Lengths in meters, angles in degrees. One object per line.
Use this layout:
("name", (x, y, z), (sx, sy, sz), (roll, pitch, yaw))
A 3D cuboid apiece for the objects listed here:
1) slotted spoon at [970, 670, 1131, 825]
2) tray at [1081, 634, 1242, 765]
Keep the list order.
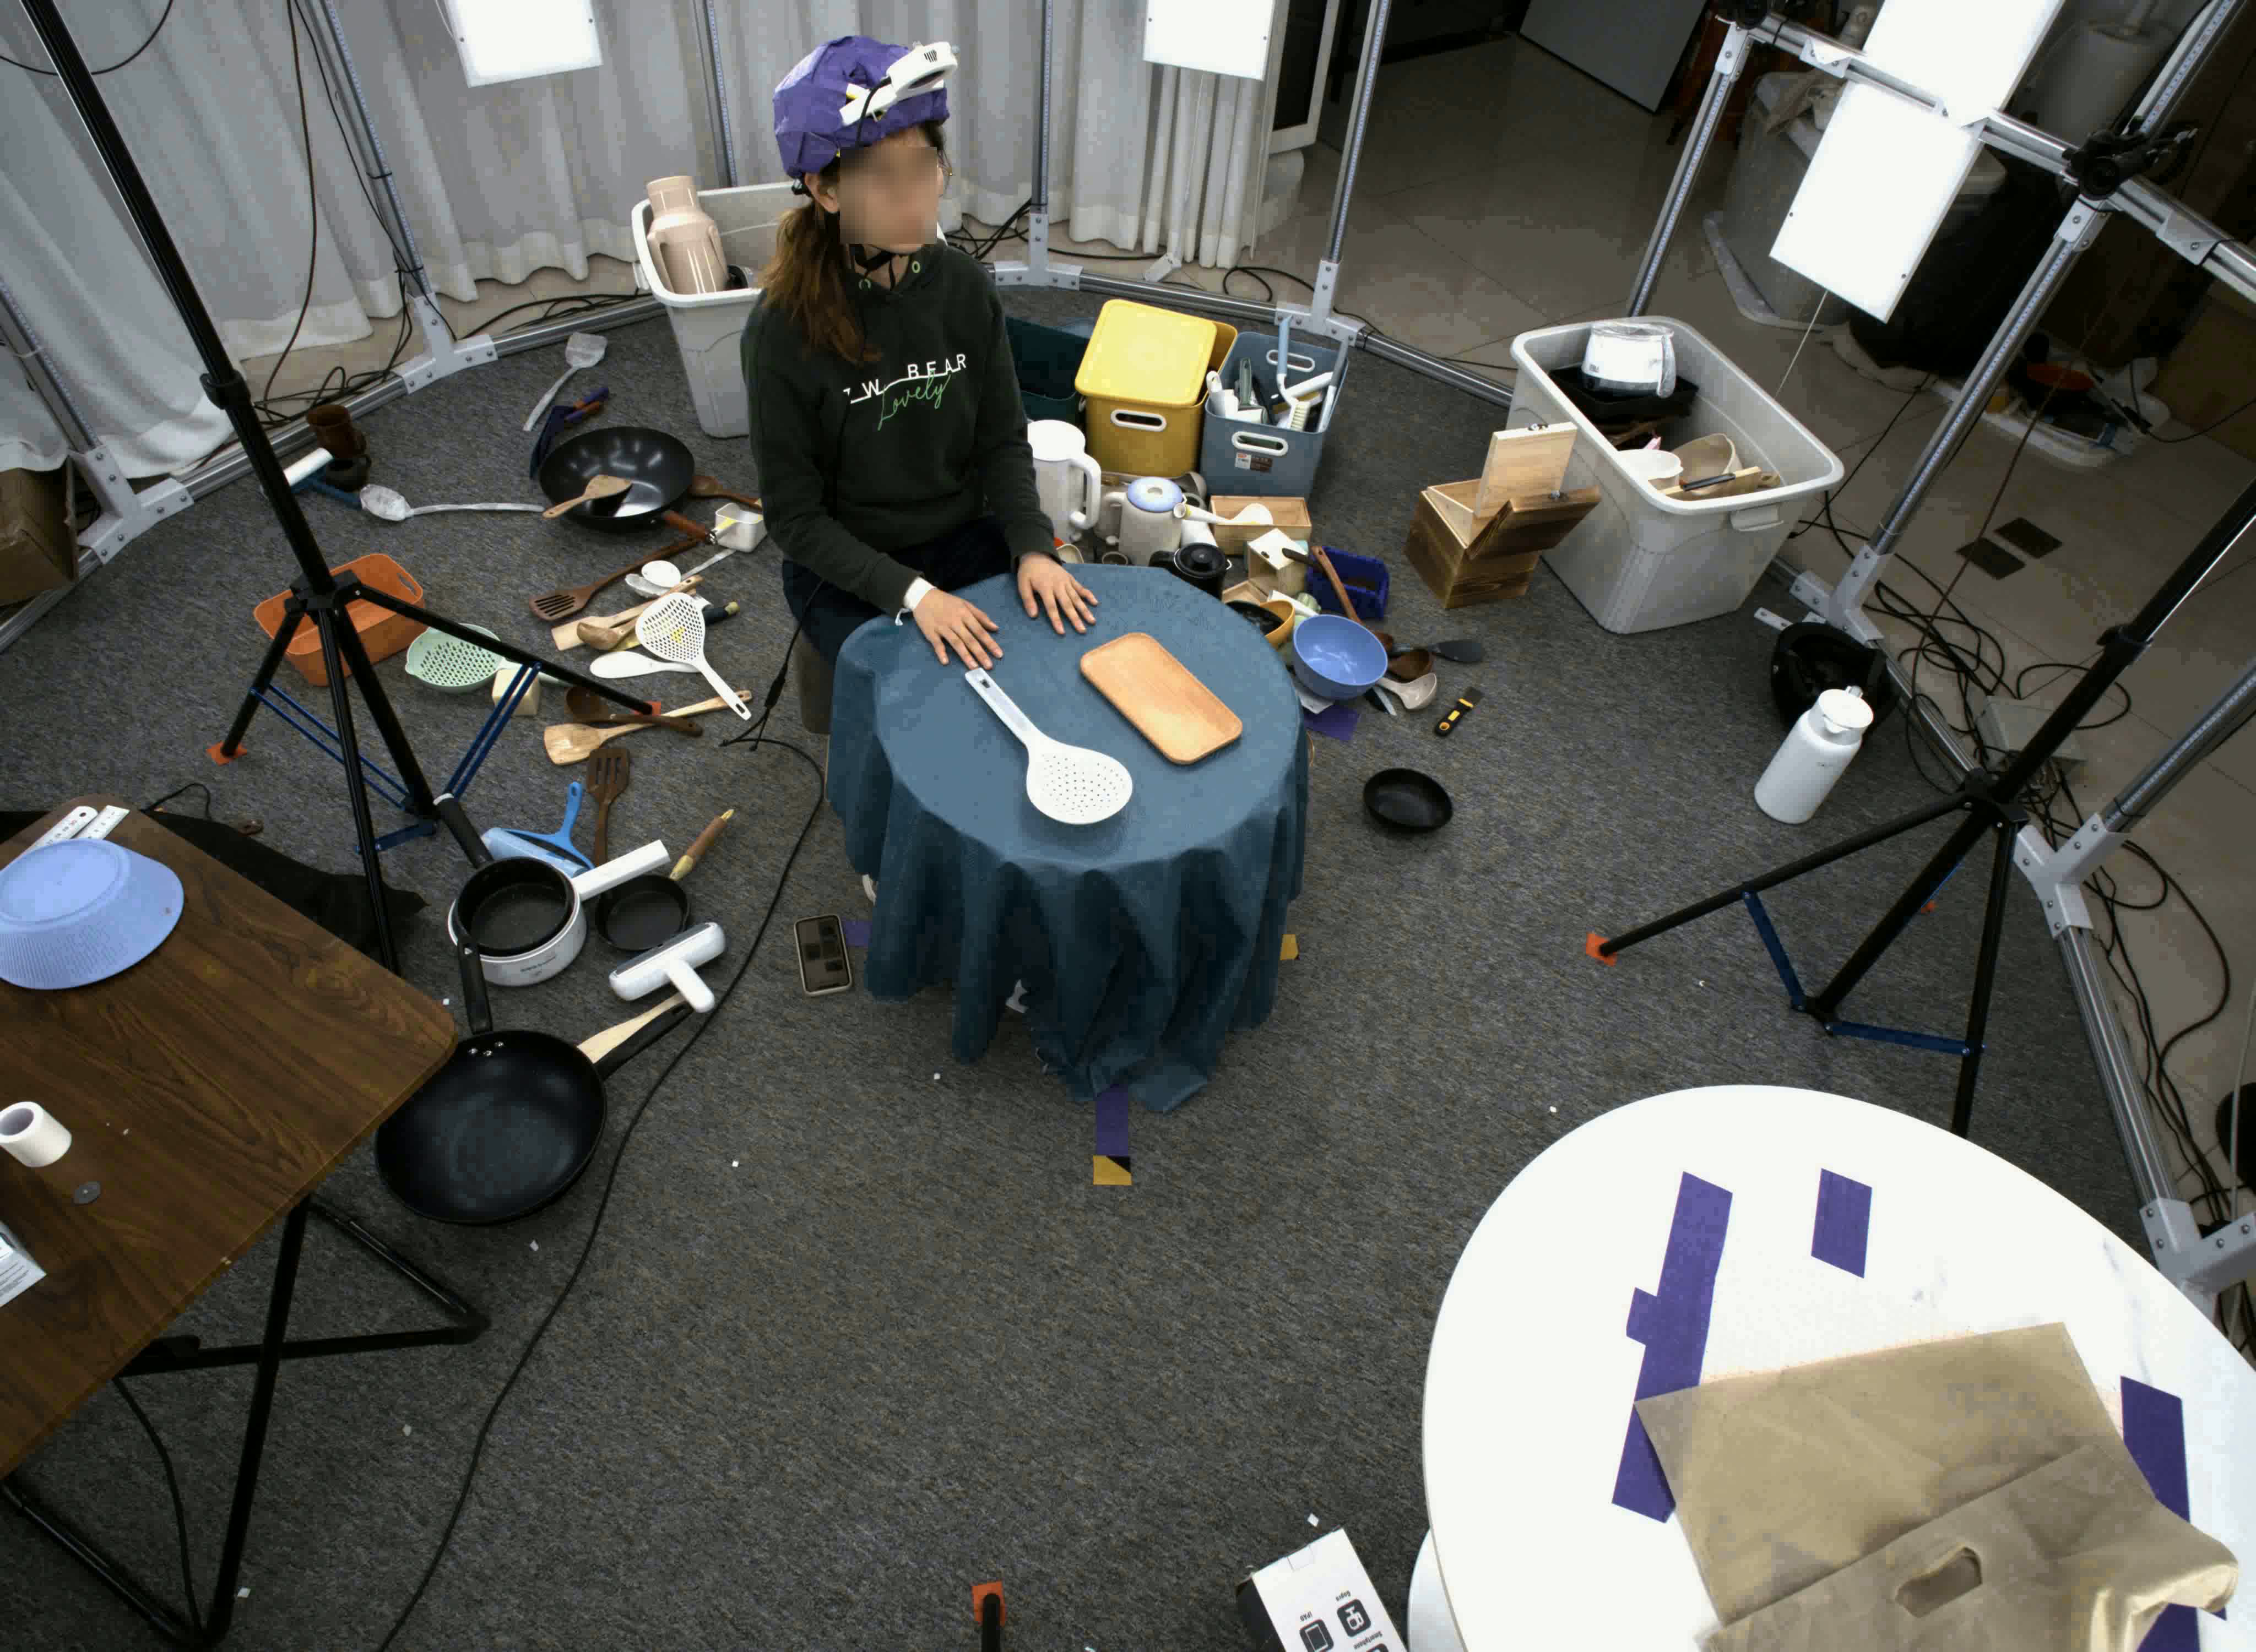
("slotted spoon", (-0.123, -0.112, 1.744), (0.136, 0.044, 0.357), (-22, 53, -25))
("tray", (0.045, -0.184, 1.837), (0.131, 0.022, 0.255), (-26, 54, -26))
